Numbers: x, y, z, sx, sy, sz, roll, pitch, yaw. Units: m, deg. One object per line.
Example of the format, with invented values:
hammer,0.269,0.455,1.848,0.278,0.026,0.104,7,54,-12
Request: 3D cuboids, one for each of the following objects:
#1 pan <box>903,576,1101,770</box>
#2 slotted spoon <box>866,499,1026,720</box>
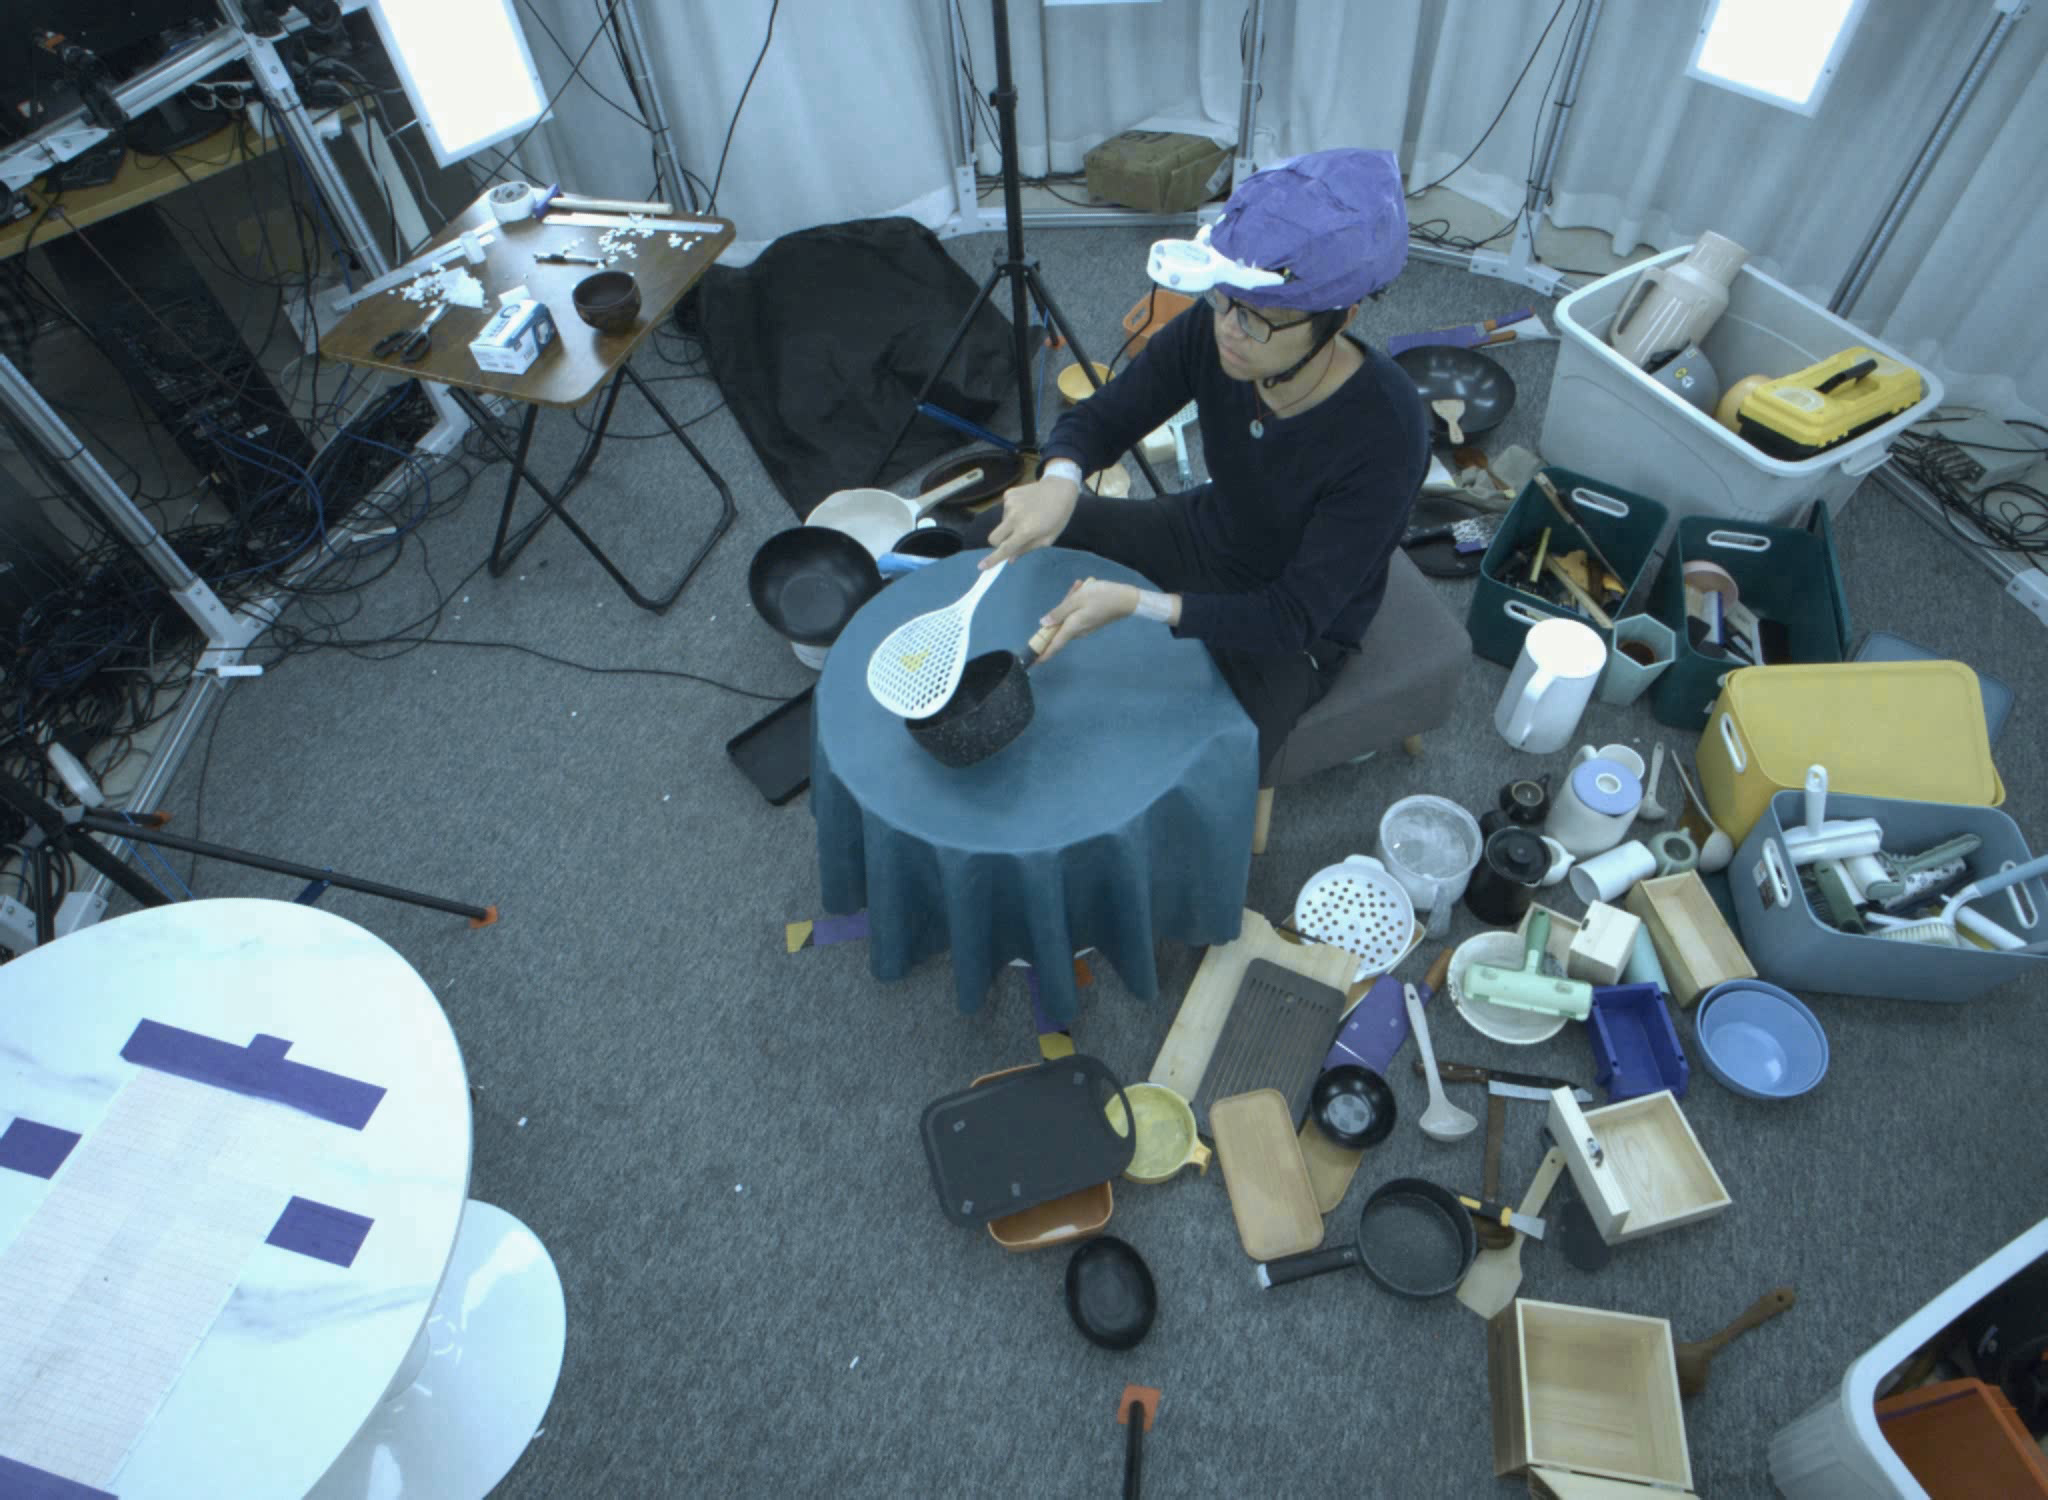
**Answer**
pan,-0.012,-0.107,1.734,0.343,0.110,0.204,-37,23,-5
slotted spoon,-0.093,-0.200,1.718,0.347,0.140,0.049,-52,33,8
